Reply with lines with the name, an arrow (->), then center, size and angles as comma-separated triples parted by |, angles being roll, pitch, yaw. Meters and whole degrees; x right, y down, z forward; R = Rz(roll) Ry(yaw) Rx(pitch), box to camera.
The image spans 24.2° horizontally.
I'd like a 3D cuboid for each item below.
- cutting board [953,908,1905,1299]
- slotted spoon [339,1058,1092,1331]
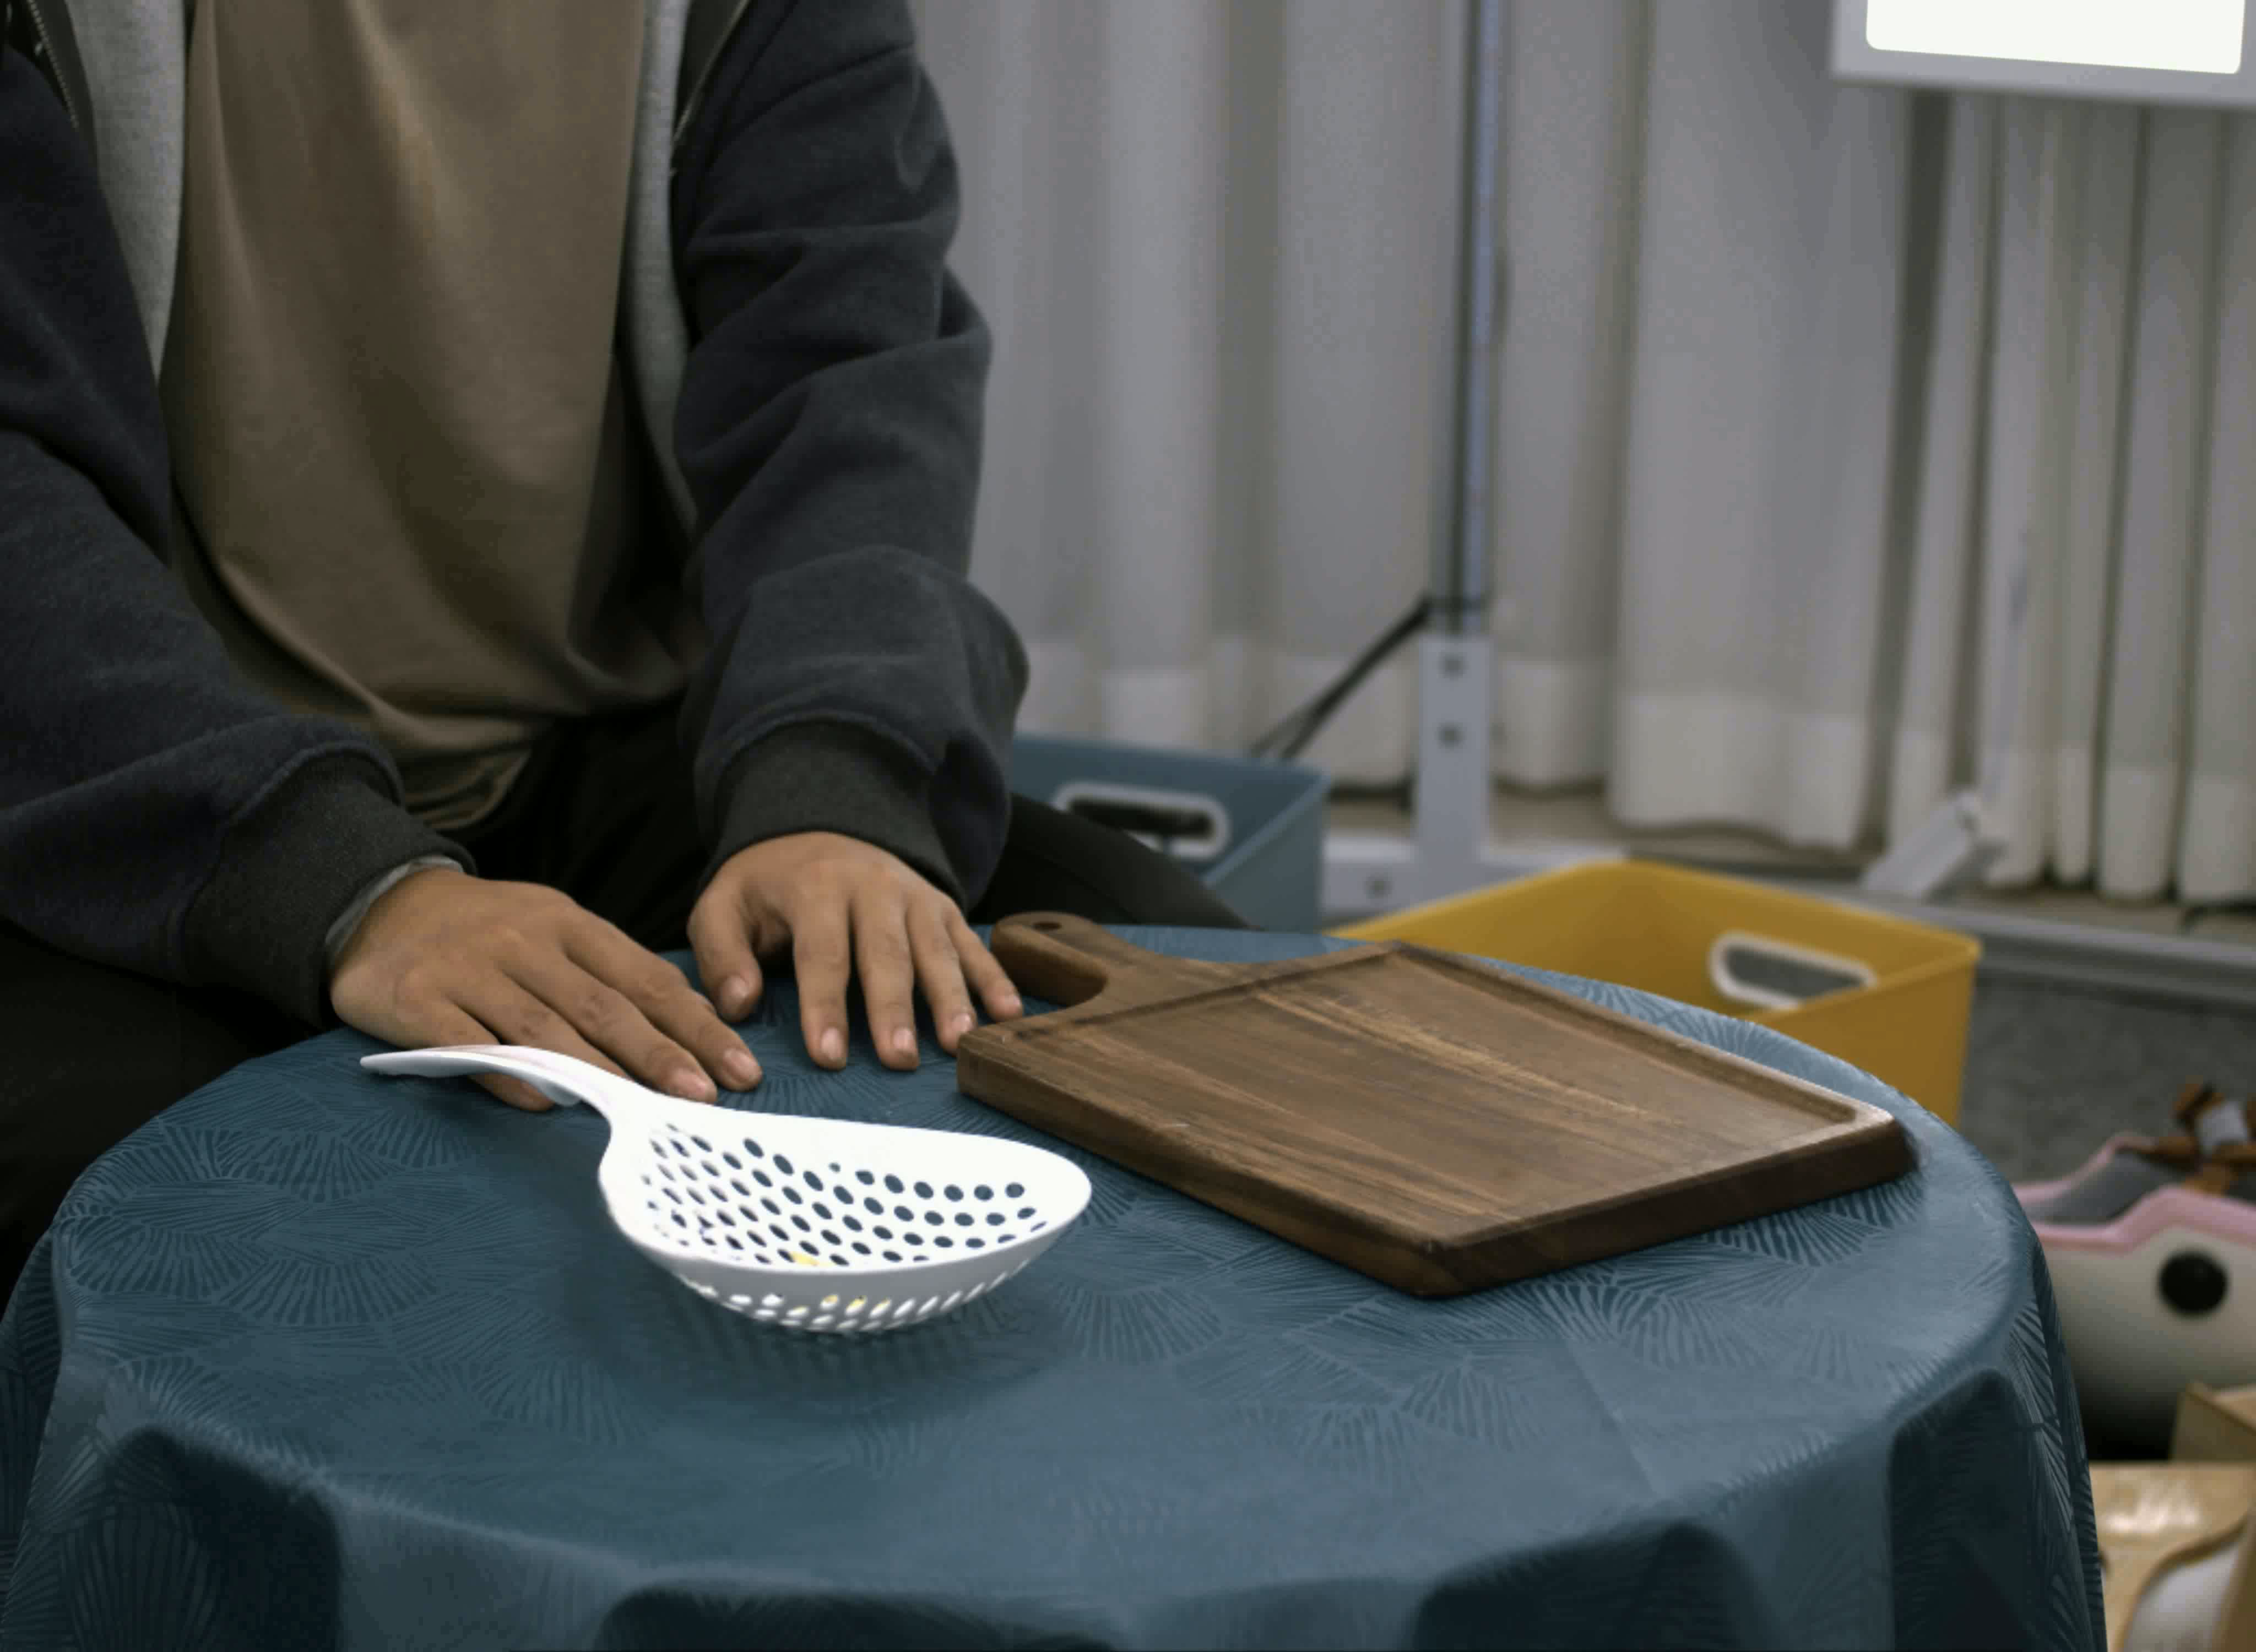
cutting board -> 0.063, 0.077, 1.713 | 0.202, 0.023, 0.347 | -10, 19, -36
slotted spoon -> -0.144, 0.098, 1.593 | 0.137, 0.051, 0.343 | -14, 21, -35
